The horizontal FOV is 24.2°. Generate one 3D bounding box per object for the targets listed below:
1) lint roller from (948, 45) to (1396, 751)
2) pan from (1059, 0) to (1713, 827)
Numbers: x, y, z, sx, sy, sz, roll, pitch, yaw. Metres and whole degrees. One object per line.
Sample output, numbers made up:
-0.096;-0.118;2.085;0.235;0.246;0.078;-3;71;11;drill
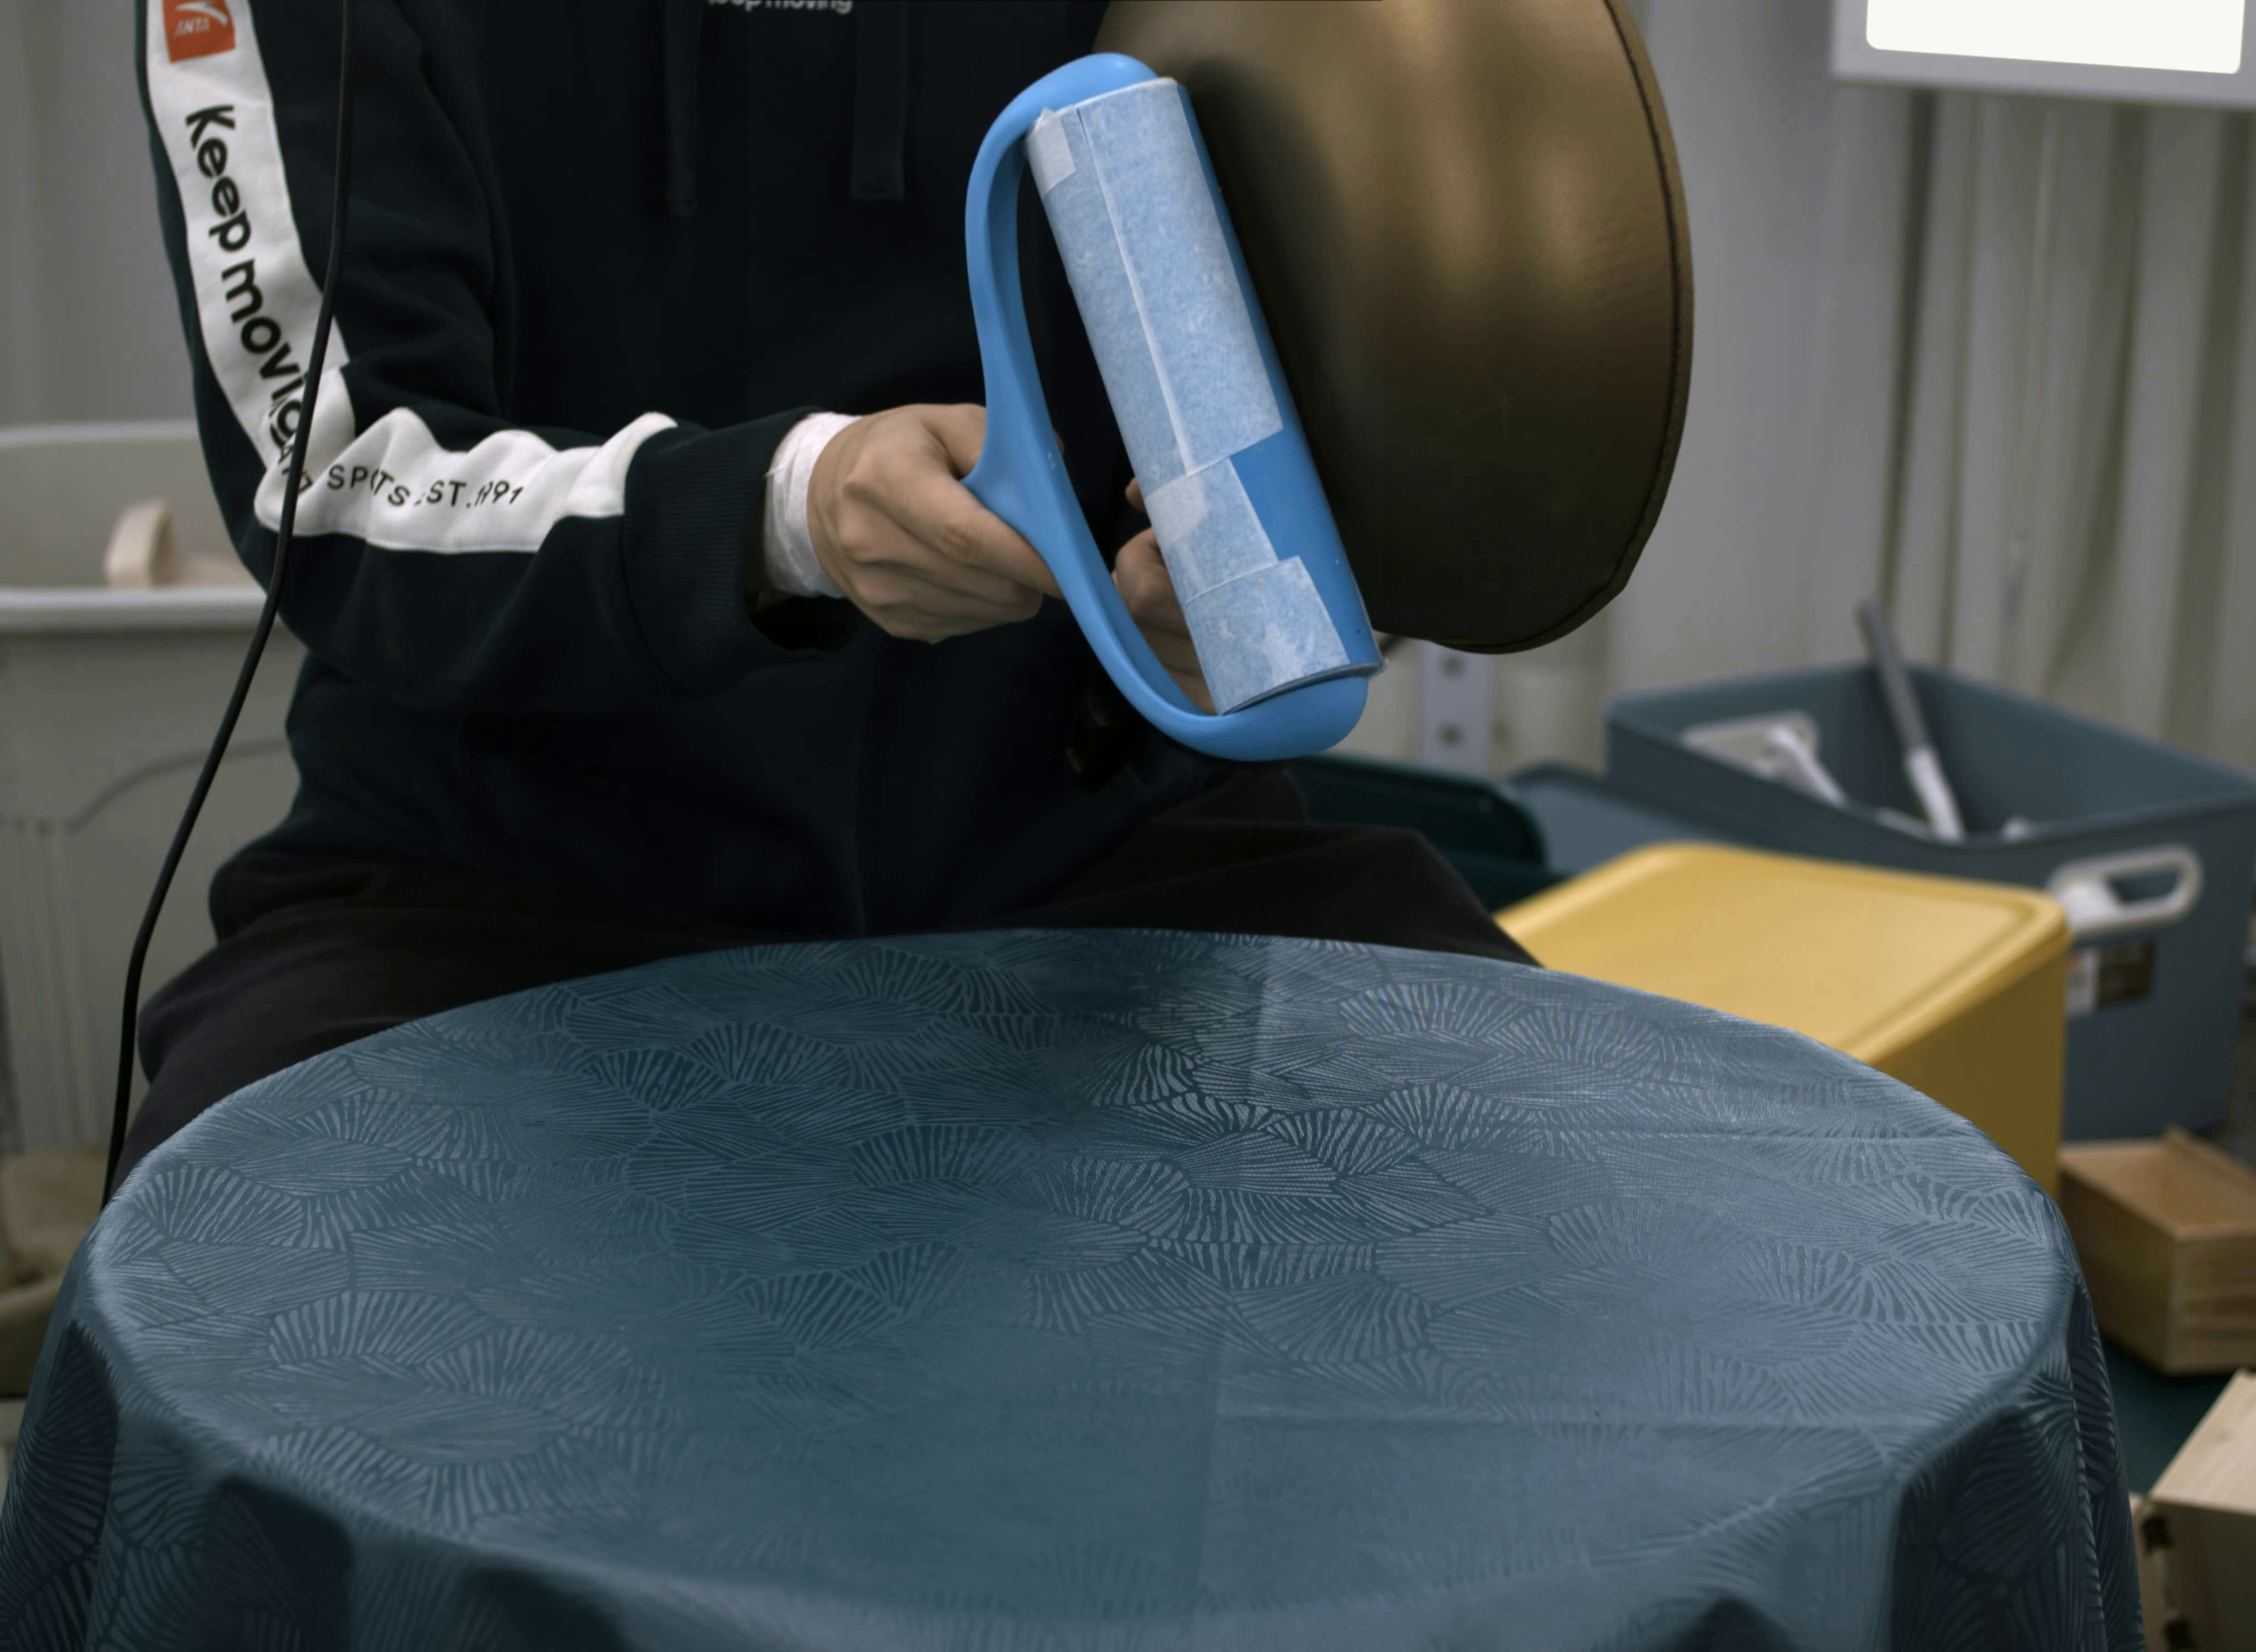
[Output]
-0.013;-0.111;1.661;0.068;0.228;0.179;-15;-11;-46;lint roller
0.032;-0.138;1.737;0.087;0.465;0.286;-15;64;-33;pan
